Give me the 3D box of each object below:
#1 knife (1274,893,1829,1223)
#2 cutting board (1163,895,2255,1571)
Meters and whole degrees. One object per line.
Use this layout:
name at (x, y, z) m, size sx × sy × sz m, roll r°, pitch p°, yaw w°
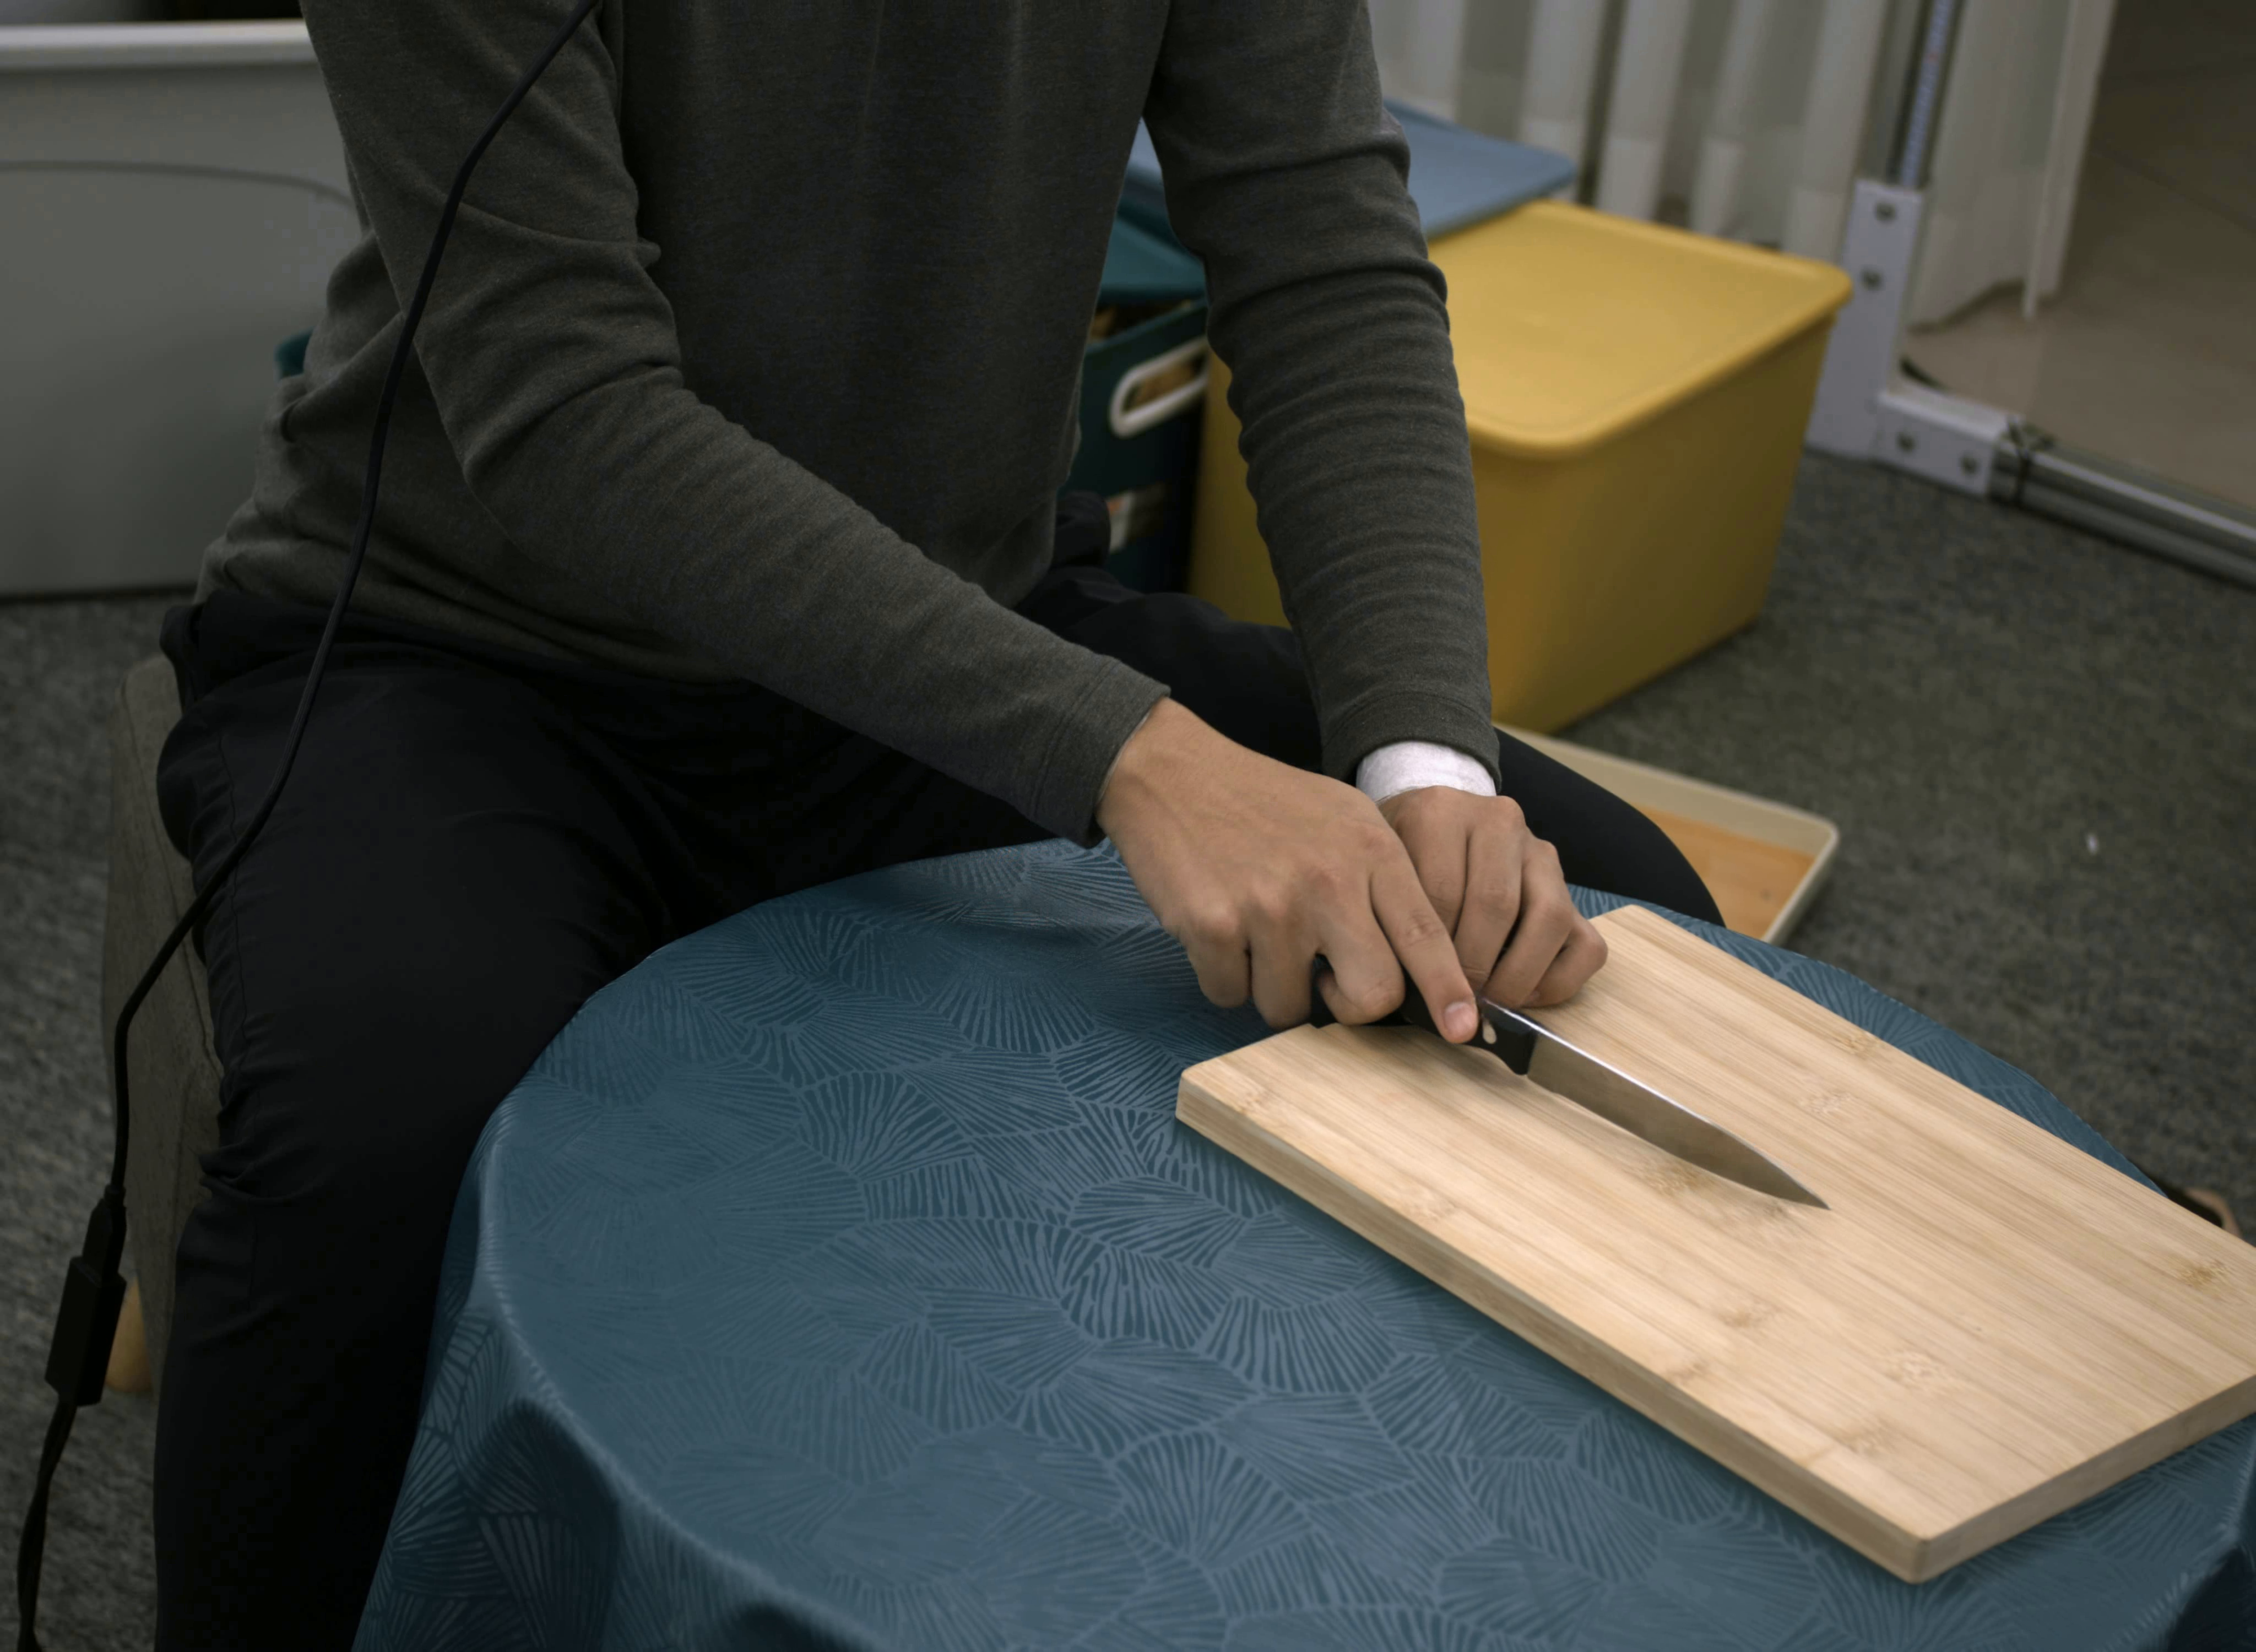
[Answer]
knife at (0.146, 0.079, 1.851) m, size 0.240 × 0.024 × 0.016 m, roll 30°, pitch 35°, yaw 29°
cutting board at (0.214, 0.131, 1.823) m, size 0.249 × 0.023 × 0.351 m, roll -18°, pitch 35°, yaw -40°
